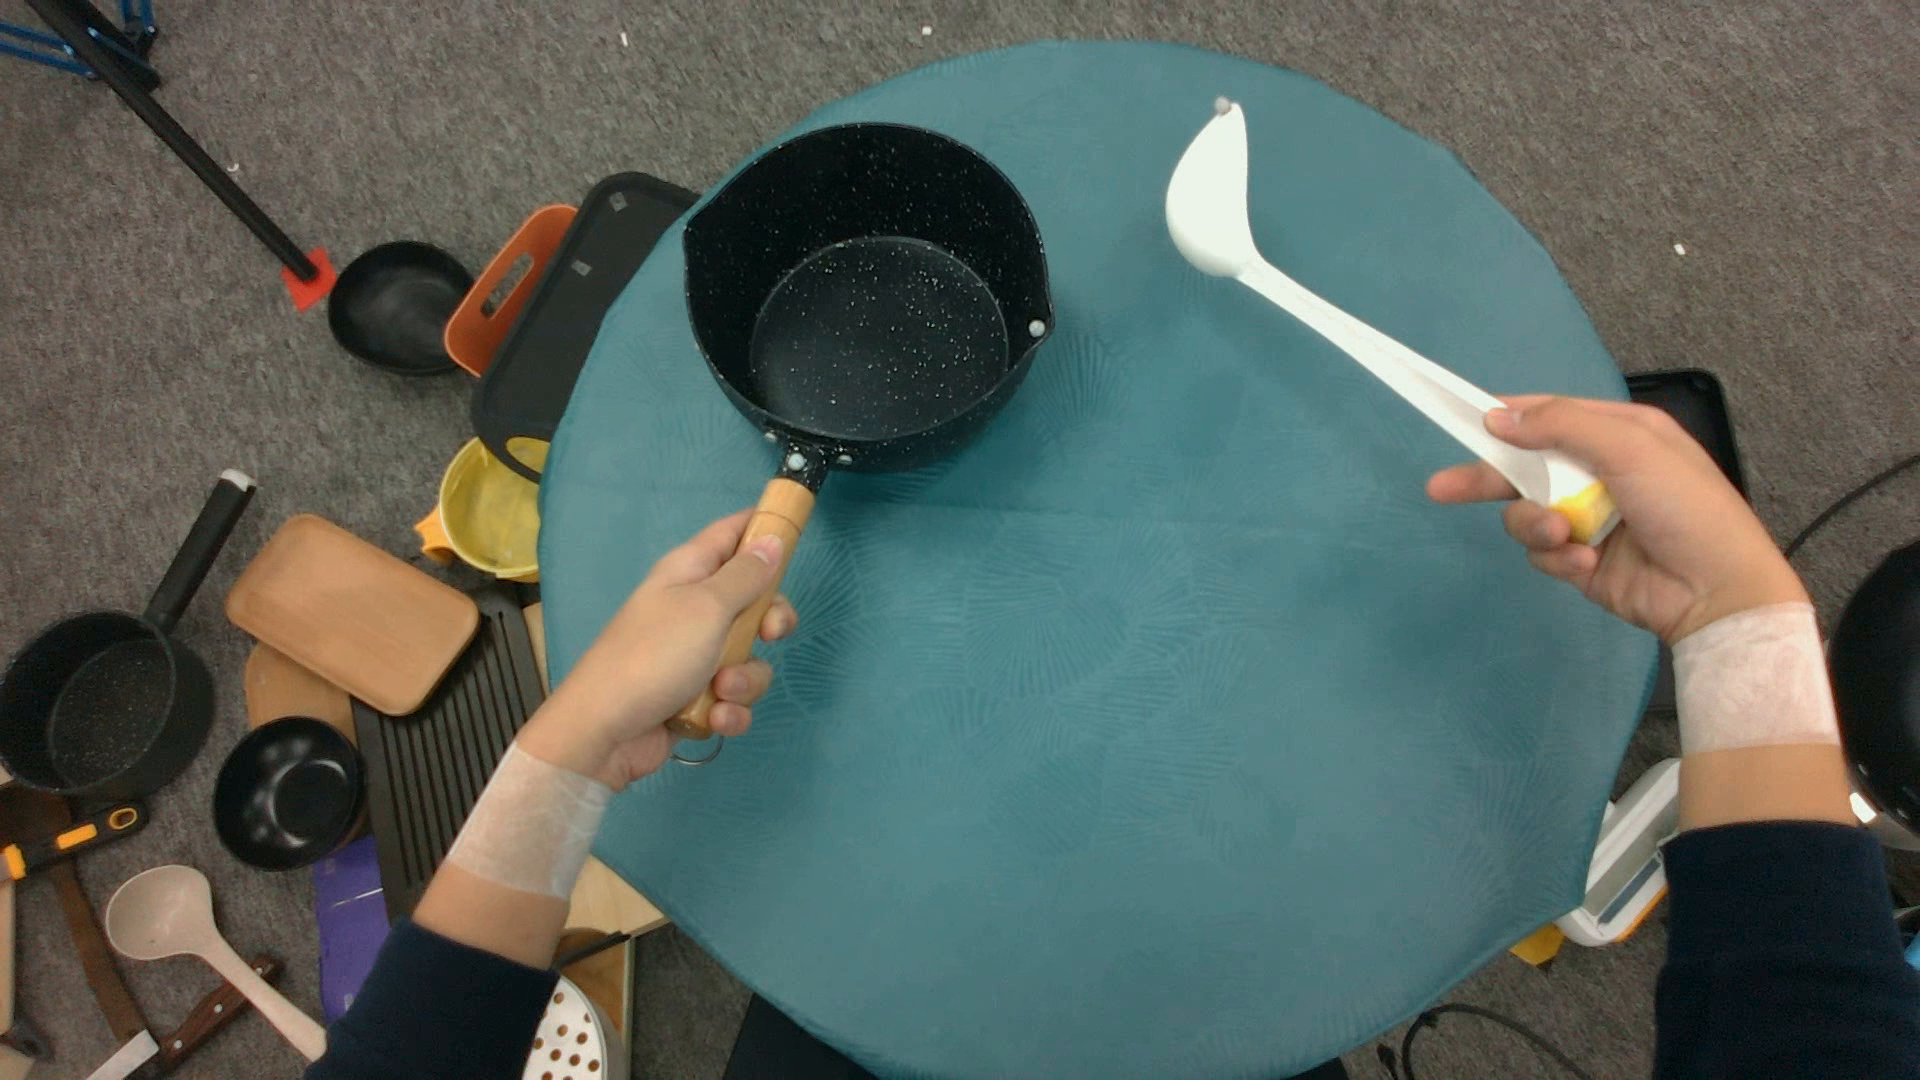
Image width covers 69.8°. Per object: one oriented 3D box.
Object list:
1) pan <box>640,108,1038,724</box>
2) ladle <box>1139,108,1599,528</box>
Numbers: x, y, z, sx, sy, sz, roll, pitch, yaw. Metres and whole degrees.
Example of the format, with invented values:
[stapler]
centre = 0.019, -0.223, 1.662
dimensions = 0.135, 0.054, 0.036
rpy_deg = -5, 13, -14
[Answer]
[pan]
centre = -0.078, -0.059, 0.700
dimensions = 0.207, 0.108, 0.344
rpy_deg = 15, 70, 5
[ladle]
centre = 0.190, -0.112, 0.670
dimensions = 0.070, 0.089, 0.293
rpy_deg = -26, 53, -27
